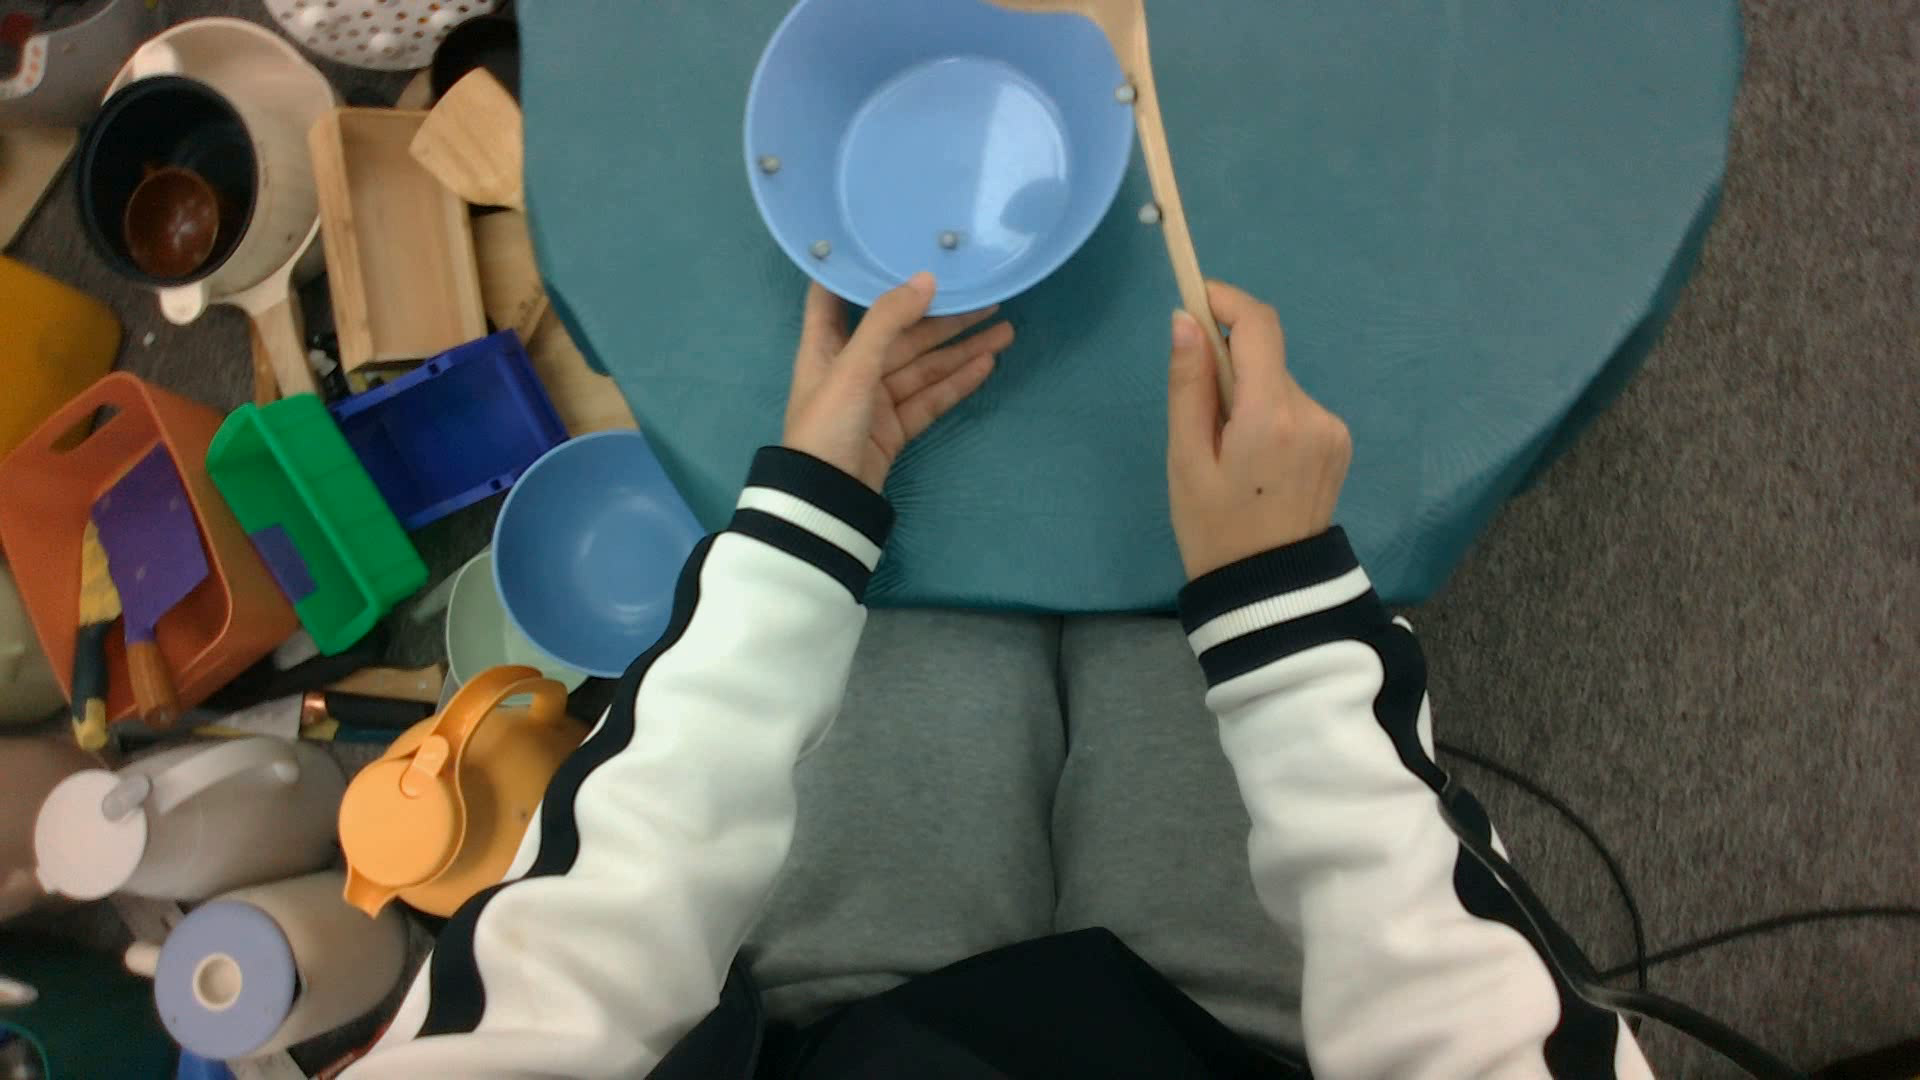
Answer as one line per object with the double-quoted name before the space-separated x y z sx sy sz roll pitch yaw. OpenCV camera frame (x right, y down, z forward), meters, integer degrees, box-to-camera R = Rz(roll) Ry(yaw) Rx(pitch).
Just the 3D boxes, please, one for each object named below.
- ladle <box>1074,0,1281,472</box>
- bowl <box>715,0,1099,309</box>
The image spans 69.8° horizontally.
"ladle" 0.057 -0.136 0.522 0.073 0.072 0.254 -22 96 -35
"bowl" -0.021 -0.186 0.650 0.176 0.070 0.176 -1 83 7
